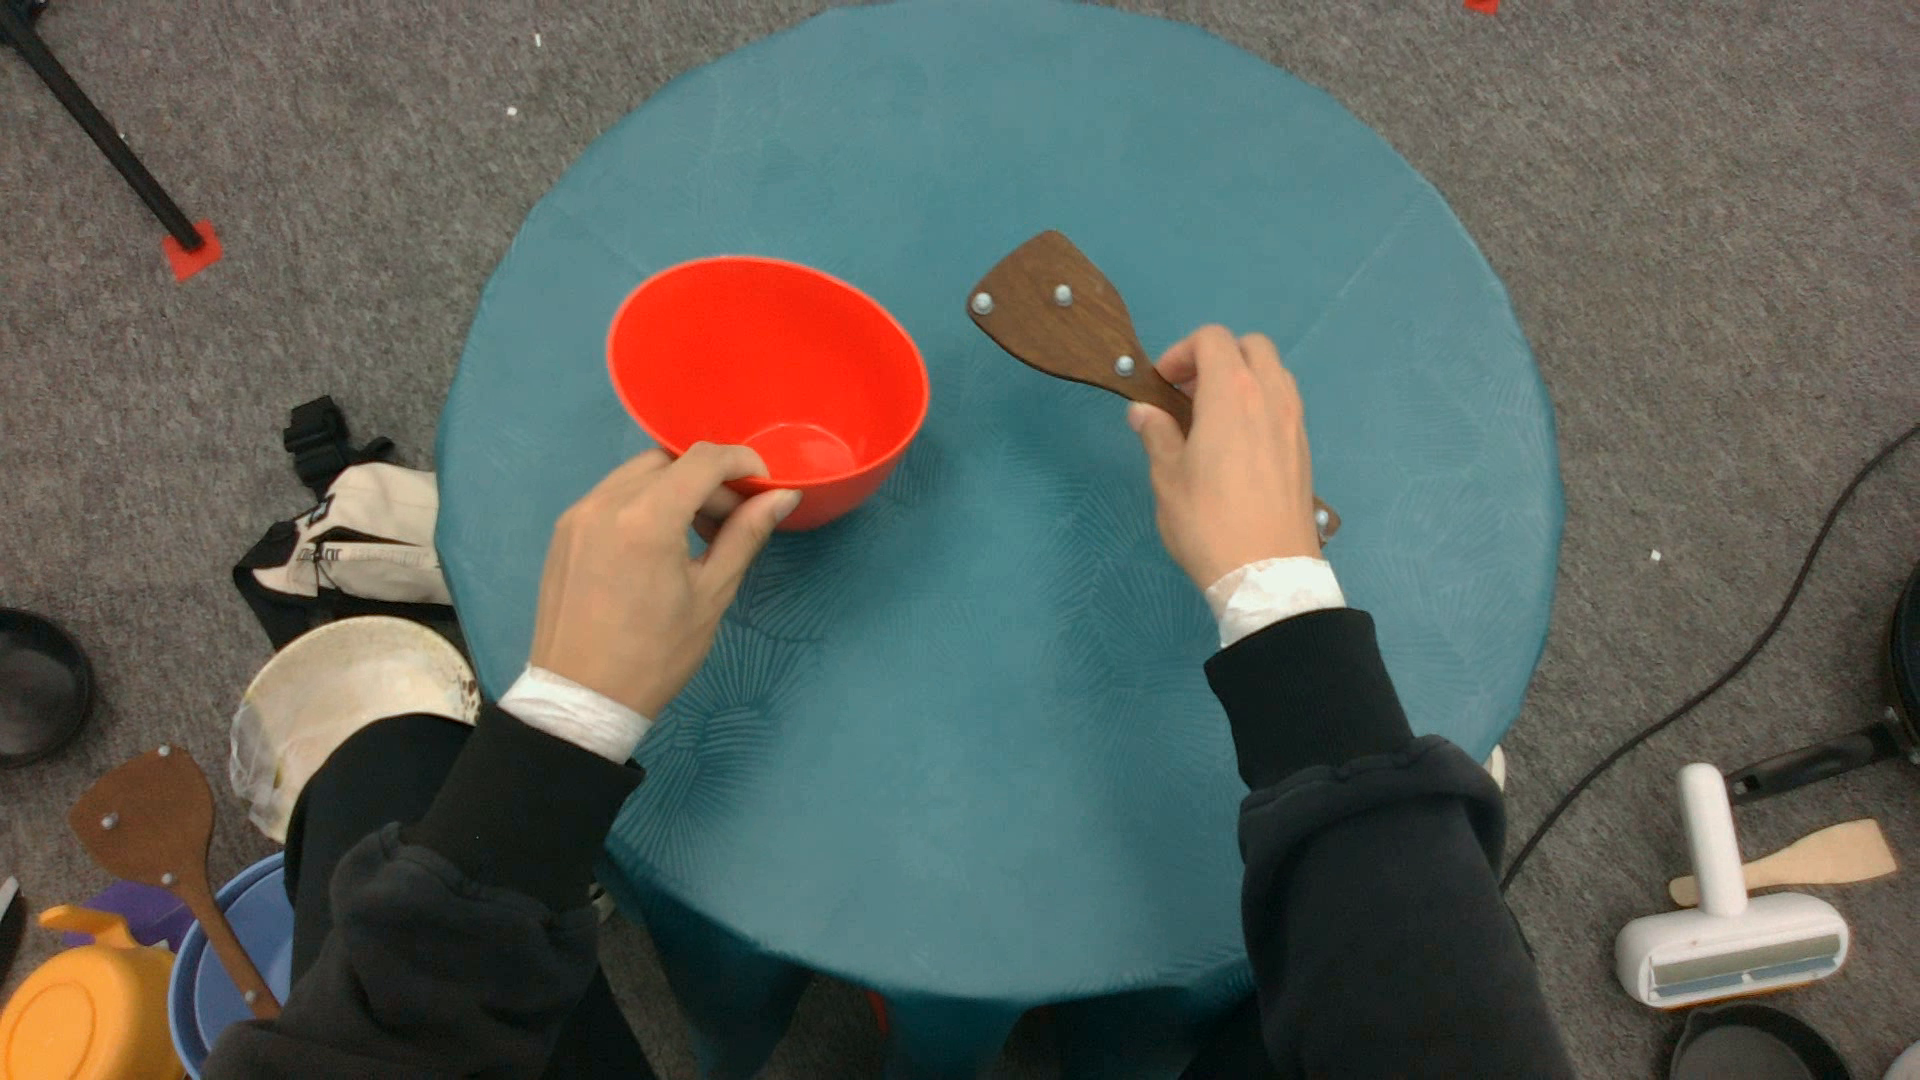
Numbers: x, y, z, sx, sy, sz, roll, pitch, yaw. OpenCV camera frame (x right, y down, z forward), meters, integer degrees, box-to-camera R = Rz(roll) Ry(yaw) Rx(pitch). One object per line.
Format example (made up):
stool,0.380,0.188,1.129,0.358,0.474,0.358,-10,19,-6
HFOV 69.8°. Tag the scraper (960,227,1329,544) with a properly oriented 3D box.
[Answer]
scraper,0.094,-0.073,0.674,0.211,0.011,0.076,43,64,13

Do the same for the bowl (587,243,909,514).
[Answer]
bowl,-0.101,-0.066,0.676,0.148,0.104,0.148,3,54,-5
